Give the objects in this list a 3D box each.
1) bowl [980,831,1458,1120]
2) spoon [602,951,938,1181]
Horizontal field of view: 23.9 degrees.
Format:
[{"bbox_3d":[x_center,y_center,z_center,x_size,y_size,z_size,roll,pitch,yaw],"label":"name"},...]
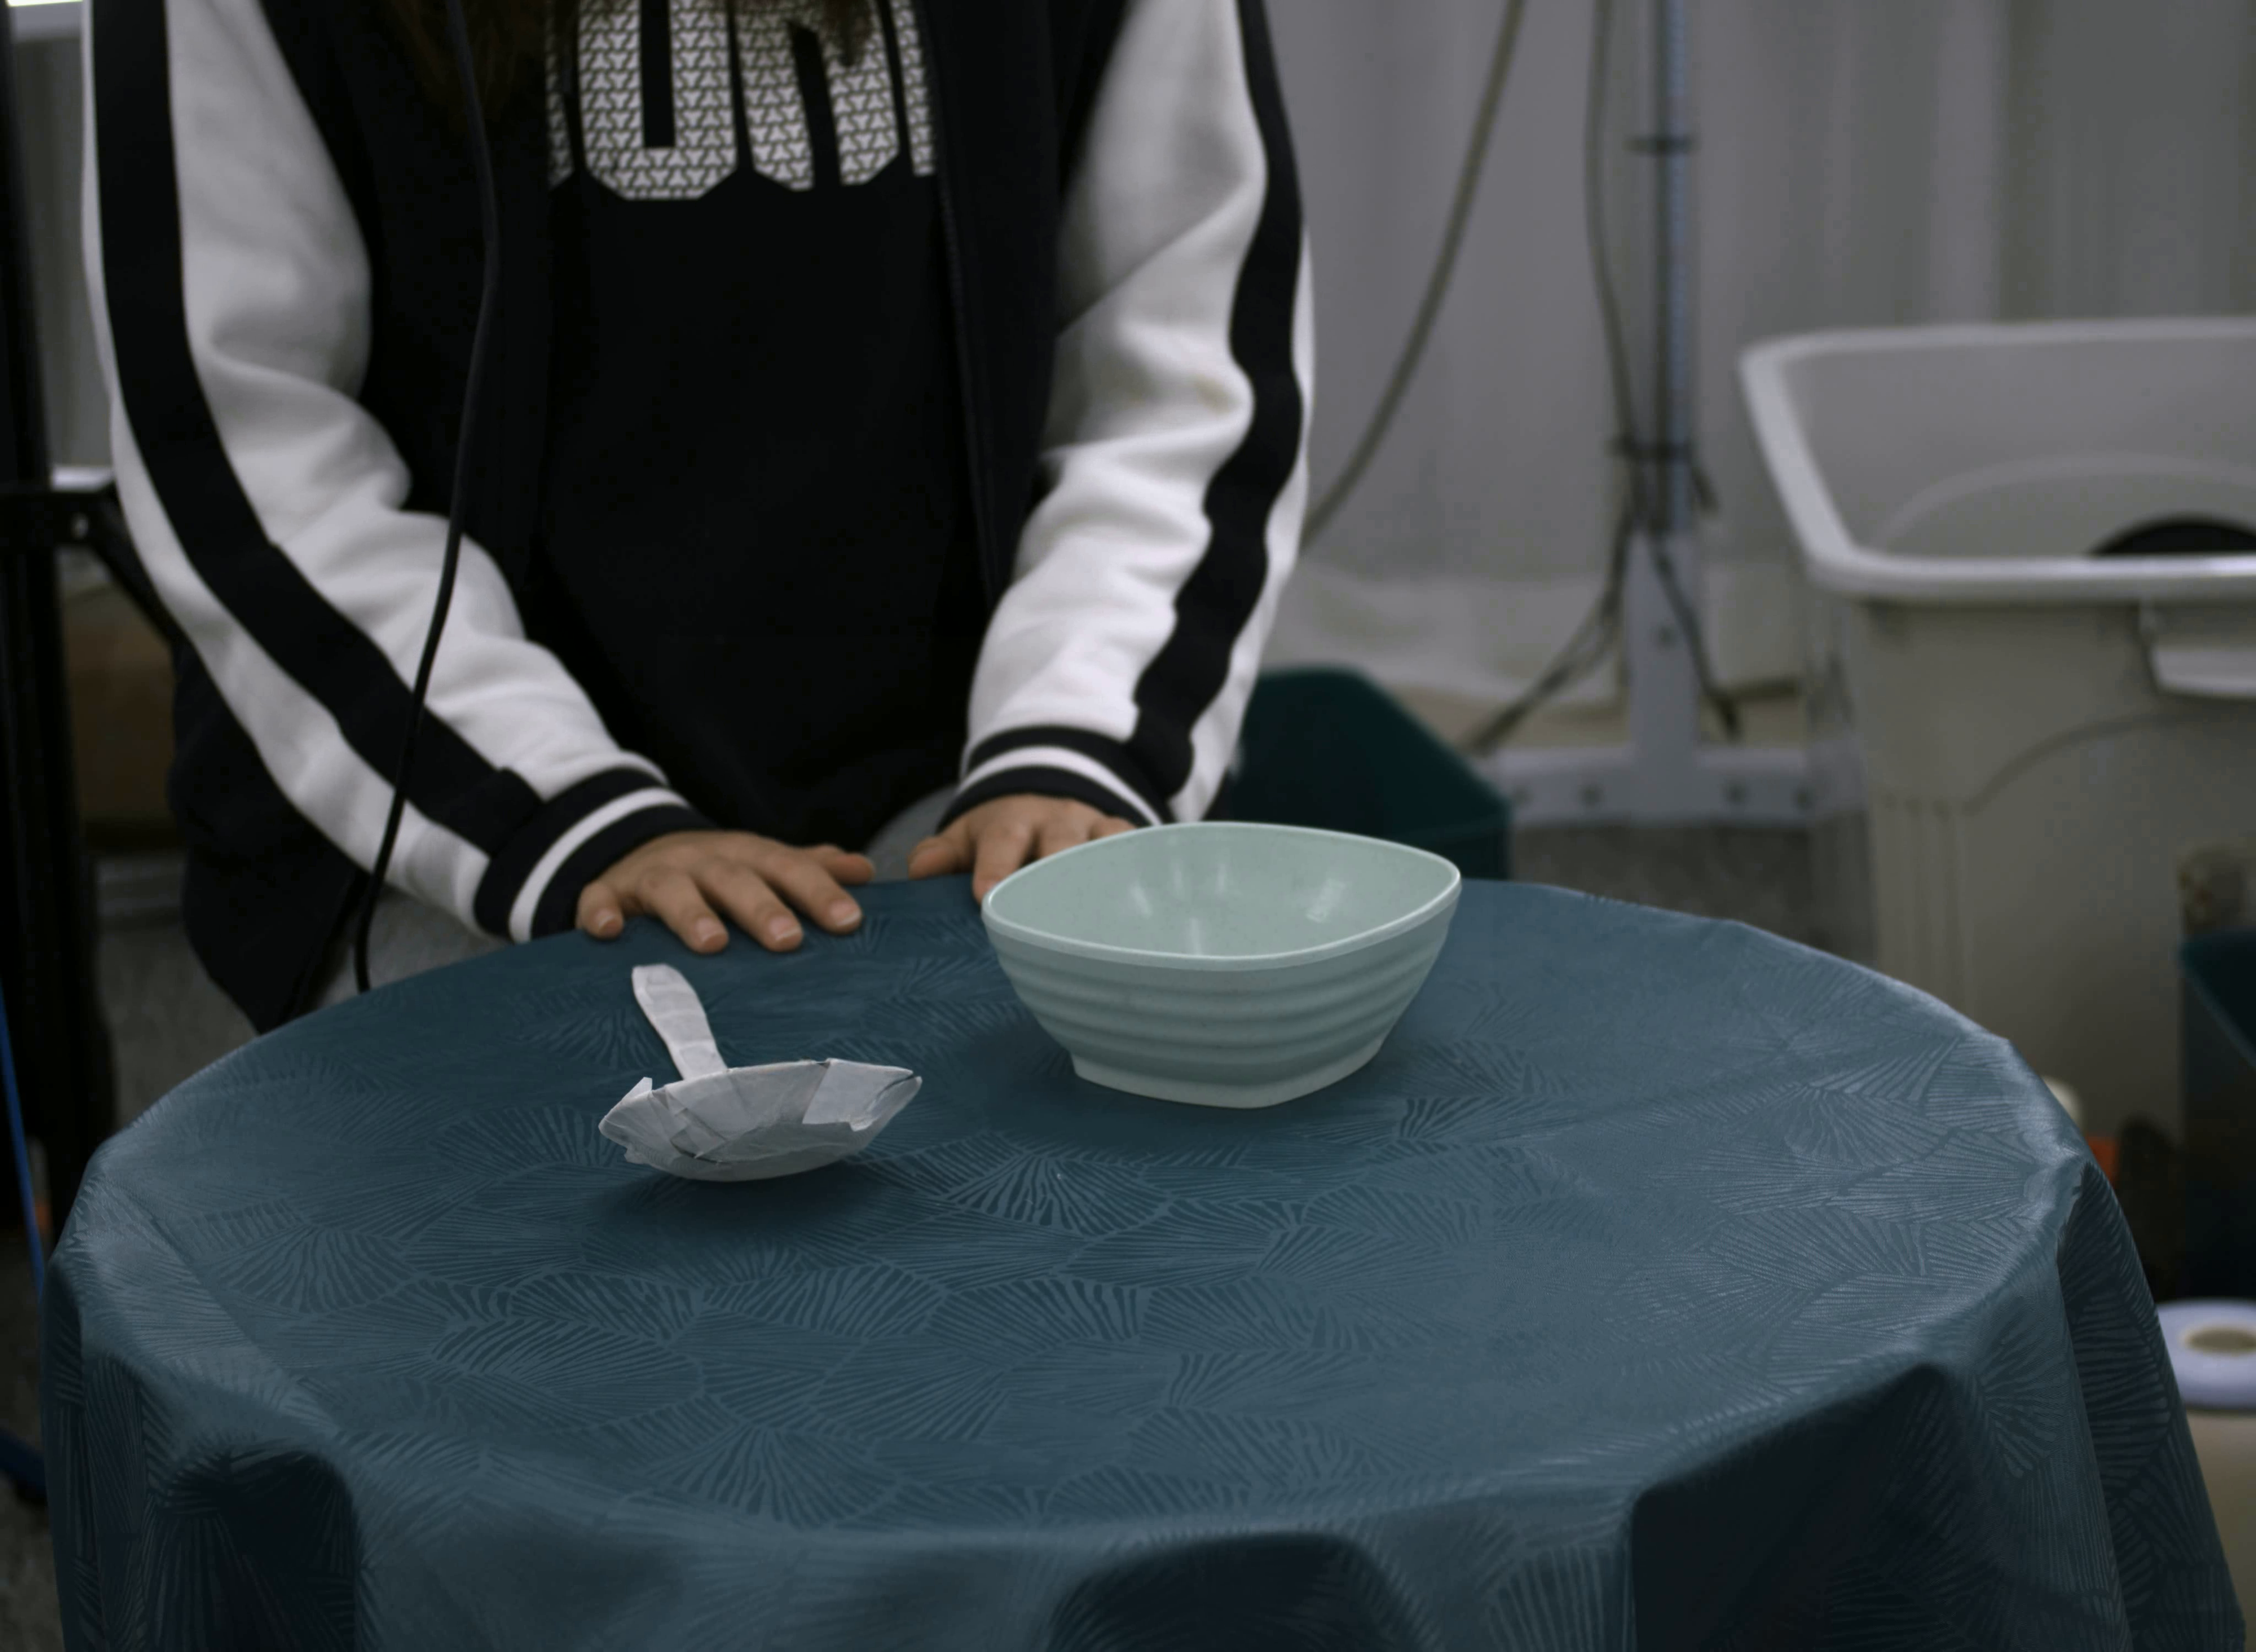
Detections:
[{"bbox_3d":[0.029,0.050,1.665,0.150,0.058,0.152,-3,15,-1],"label":"bowl"},{"bbox_3d":[-0.120,0.056,1.656,0.099,0.059,0.280,0,15,-9],"label":"spoon"}]
